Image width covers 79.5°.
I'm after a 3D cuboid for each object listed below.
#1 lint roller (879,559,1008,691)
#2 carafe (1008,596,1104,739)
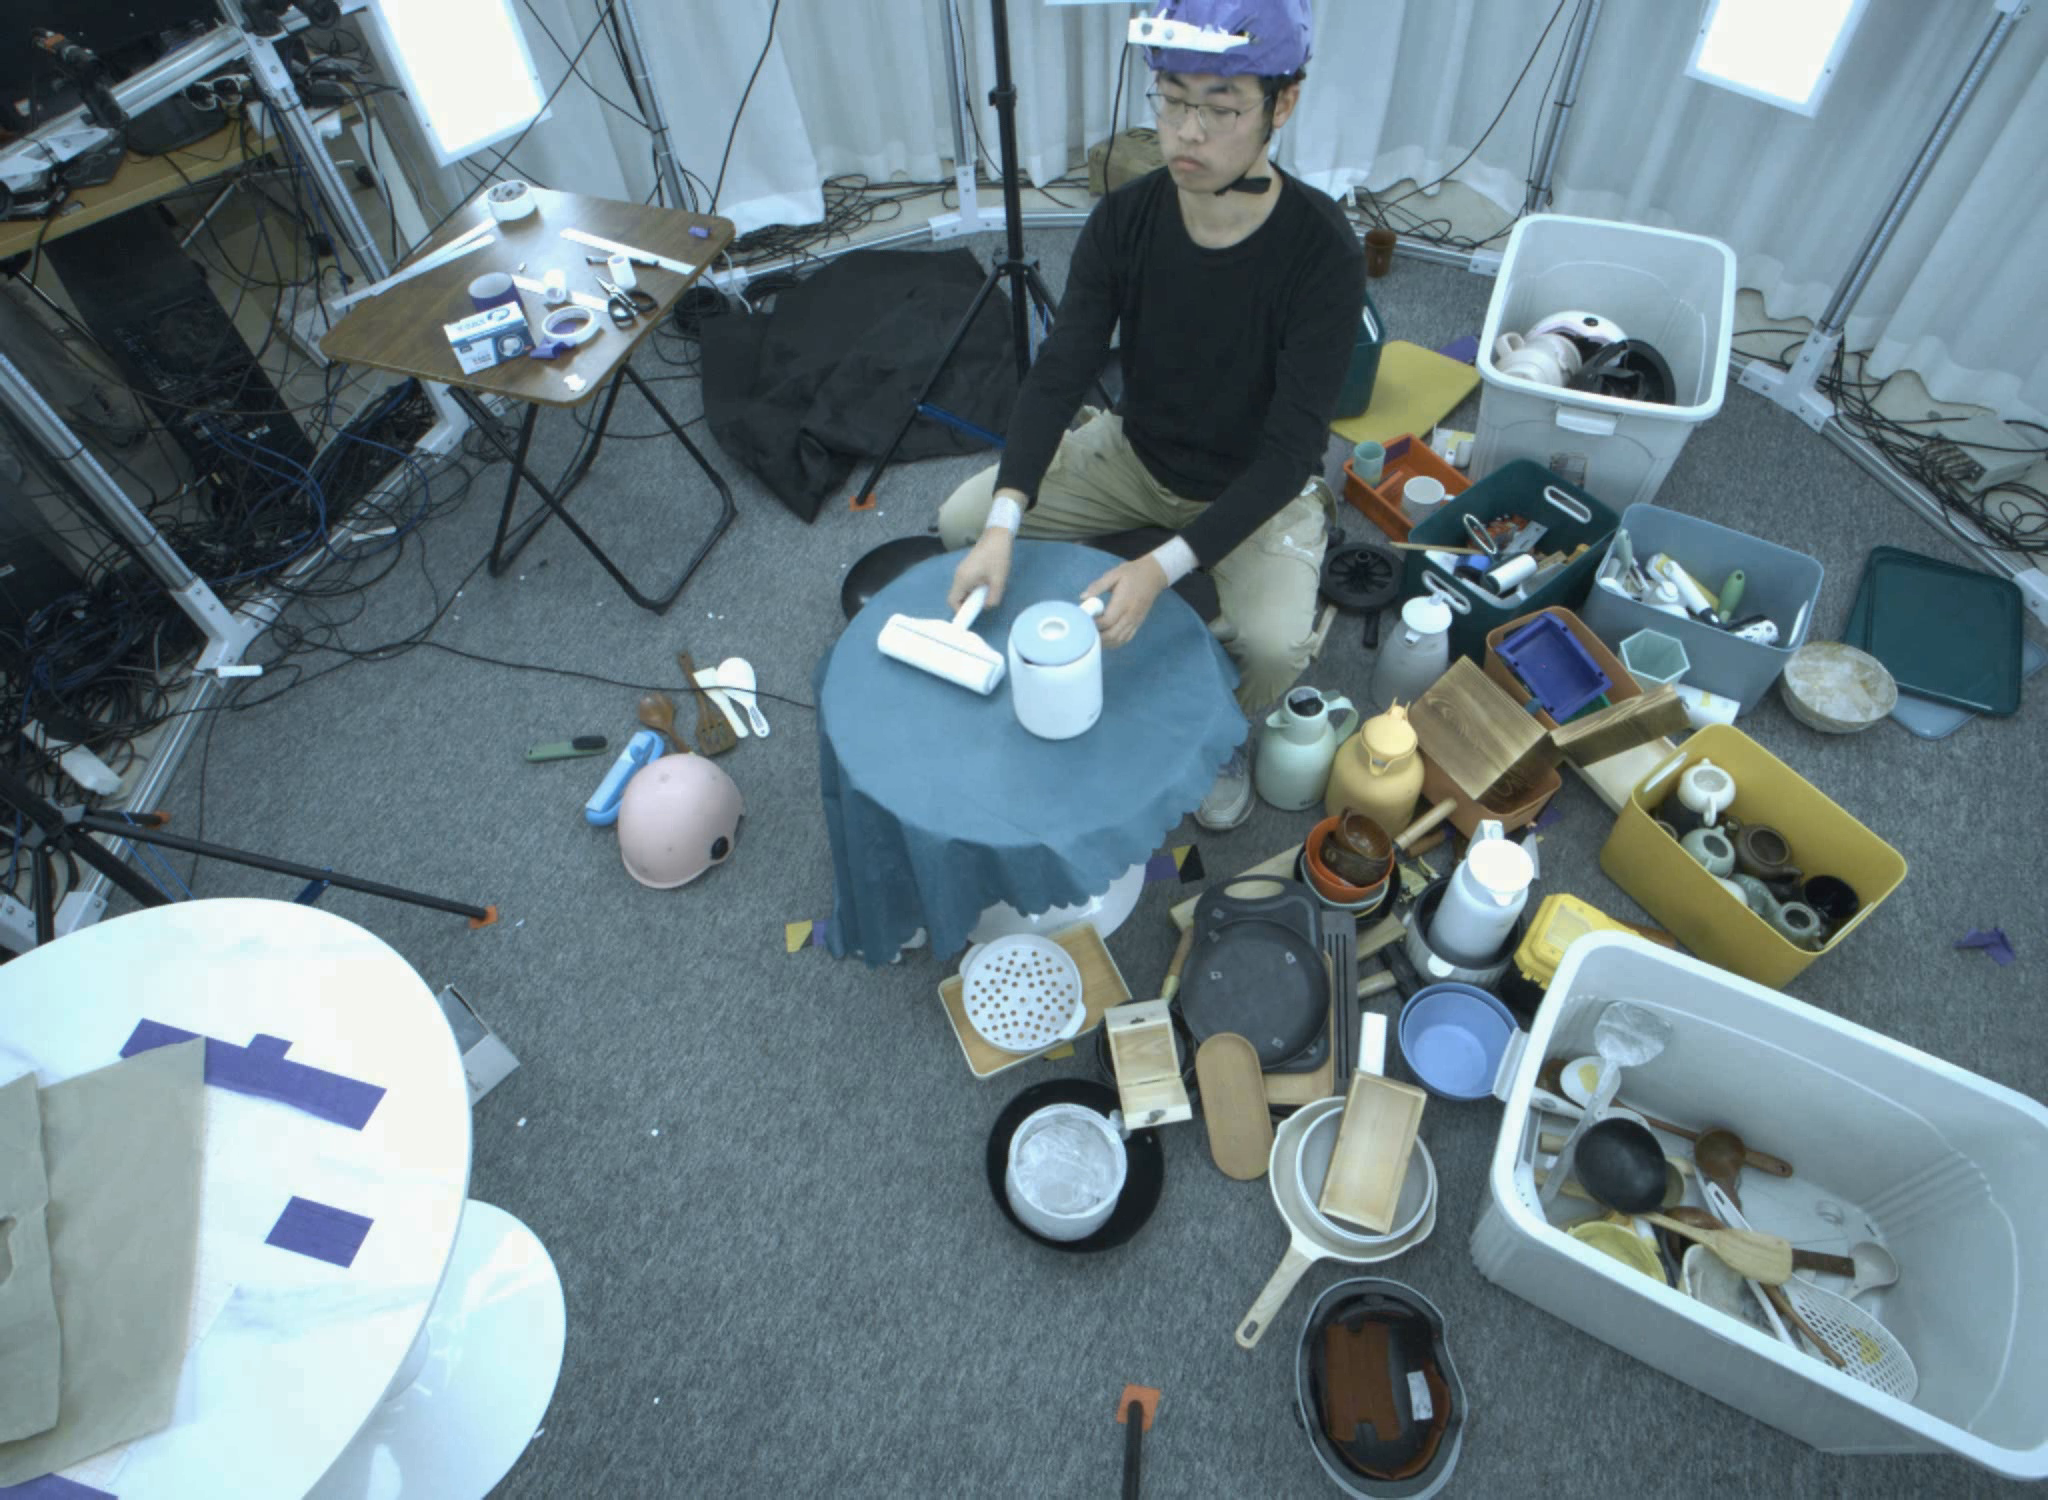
[{"bbox_3d":[-0.089,-0.212,1.892,0.200,0.049,0.225,22,68,18],"label":"lint roller"},{"bbox_3d":[0.060,-0.130,1.772,0.130,0.184,0.192,28,59,21],"label":"carafe"}]
